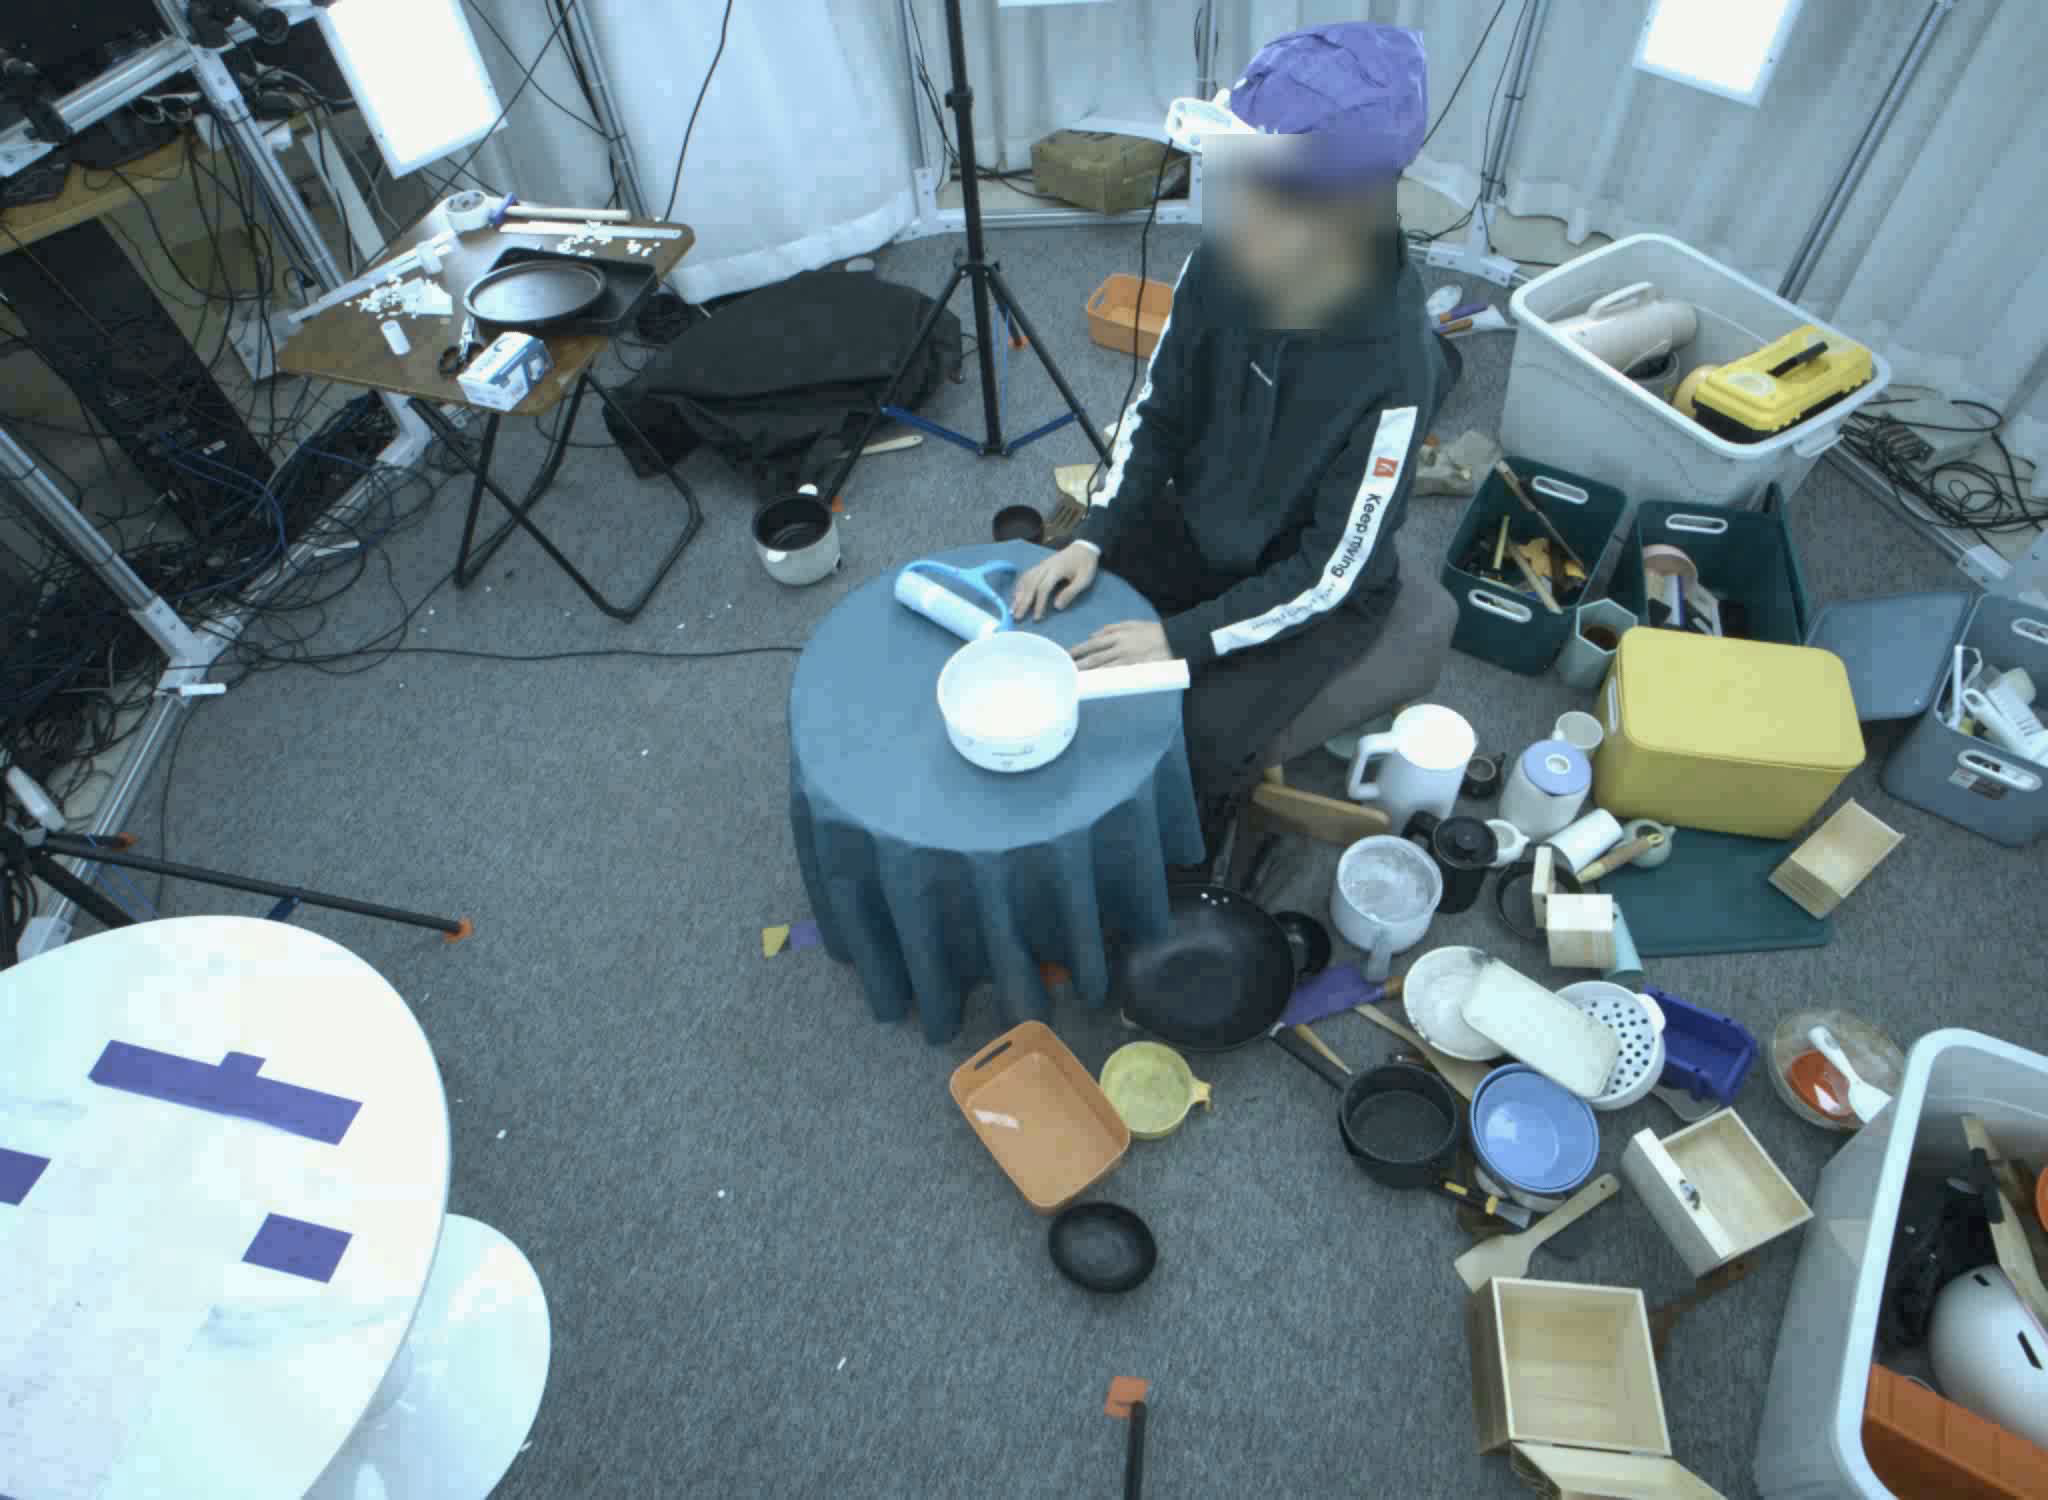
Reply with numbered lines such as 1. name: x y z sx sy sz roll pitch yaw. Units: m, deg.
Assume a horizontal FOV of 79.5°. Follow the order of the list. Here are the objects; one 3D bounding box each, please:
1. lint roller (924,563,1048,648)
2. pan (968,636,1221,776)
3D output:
1. lint roller: -0.029 -0.251 1.927 0.225 0.069 0.181 30 62 23
2. pan: 0.100 -0.063 1.763 0.355 0.103 0.199 -4 54 -1
